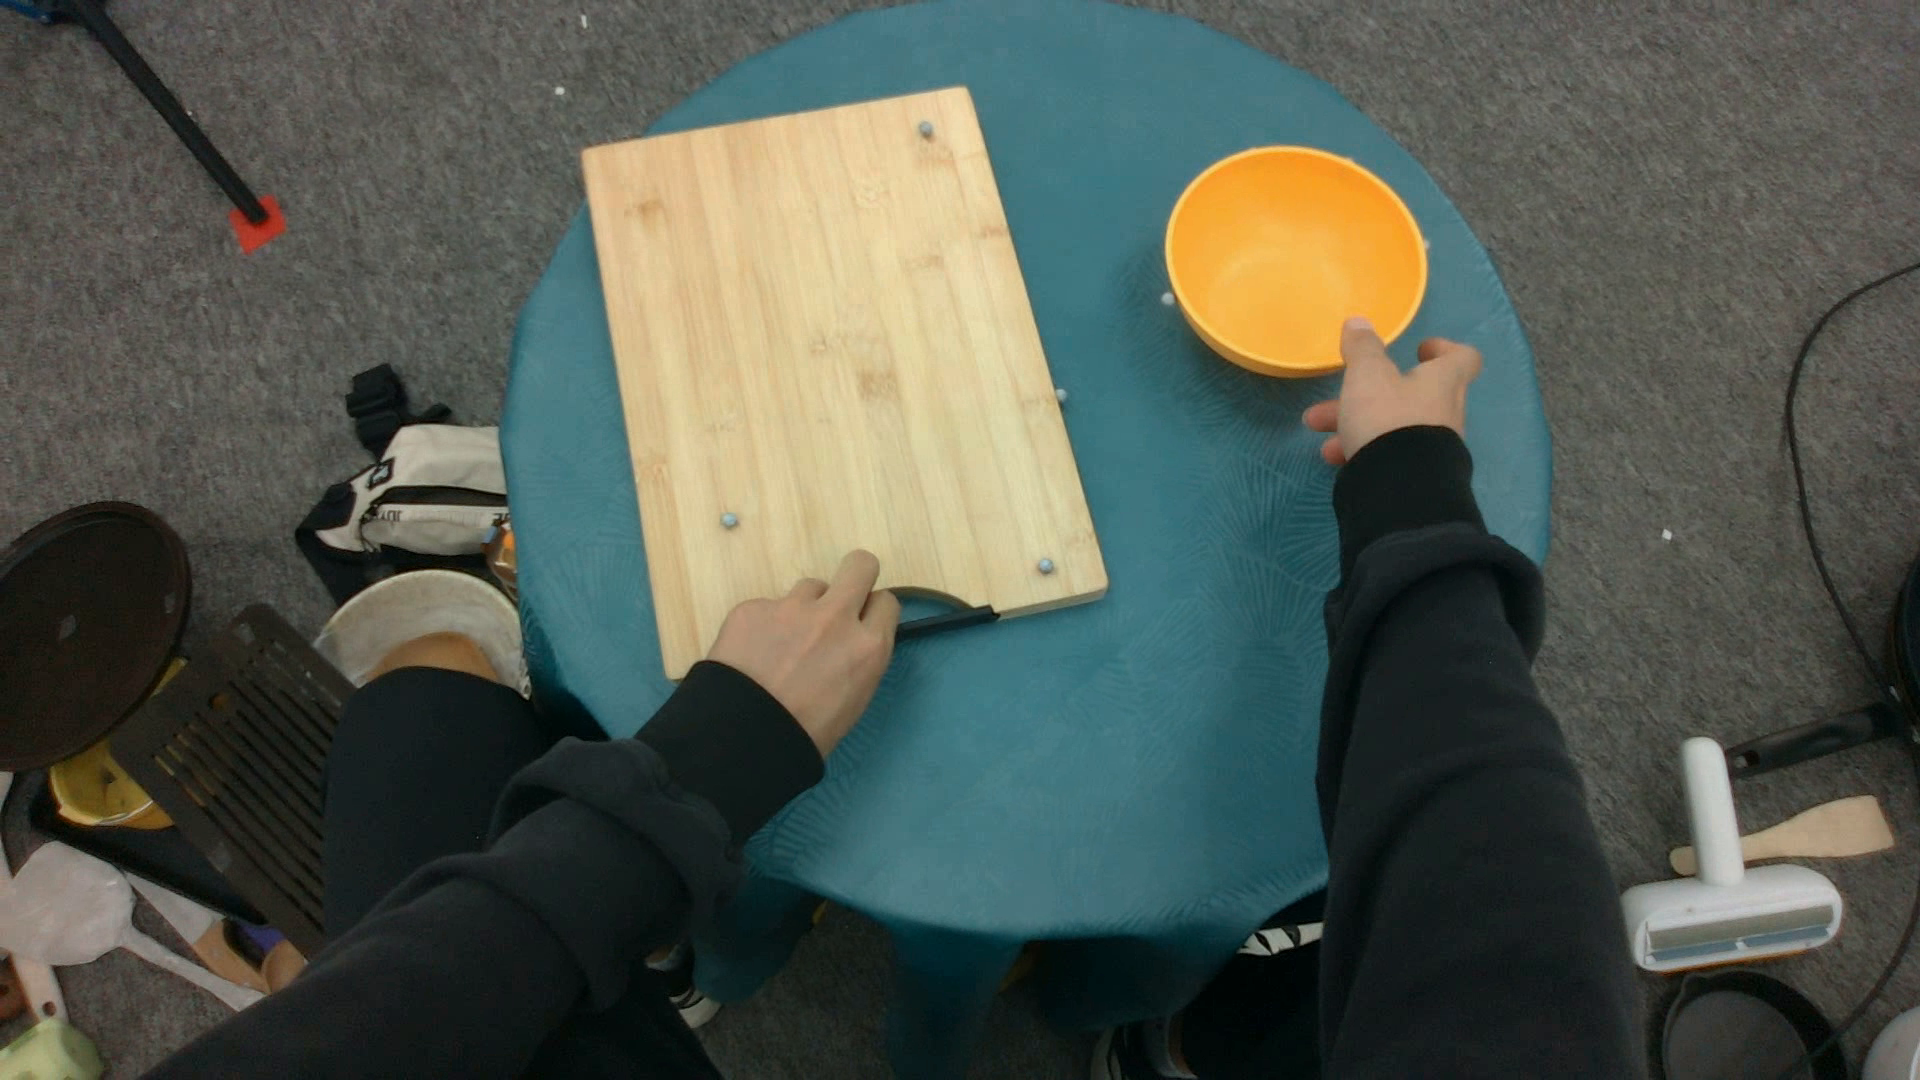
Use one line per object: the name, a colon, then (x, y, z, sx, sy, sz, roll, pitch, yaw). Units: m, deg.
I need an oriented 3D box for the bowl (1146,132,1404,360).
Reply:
bowl: (0.177, -0.160, 0.799, 0.145, 0.060, 0.146, 0, 70, 0)

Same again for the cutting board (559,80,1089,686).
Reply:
cutting board: (-0.086, -0.107, 0.789, 0.251, 0.023, 0.349, -12, 70, -7)
